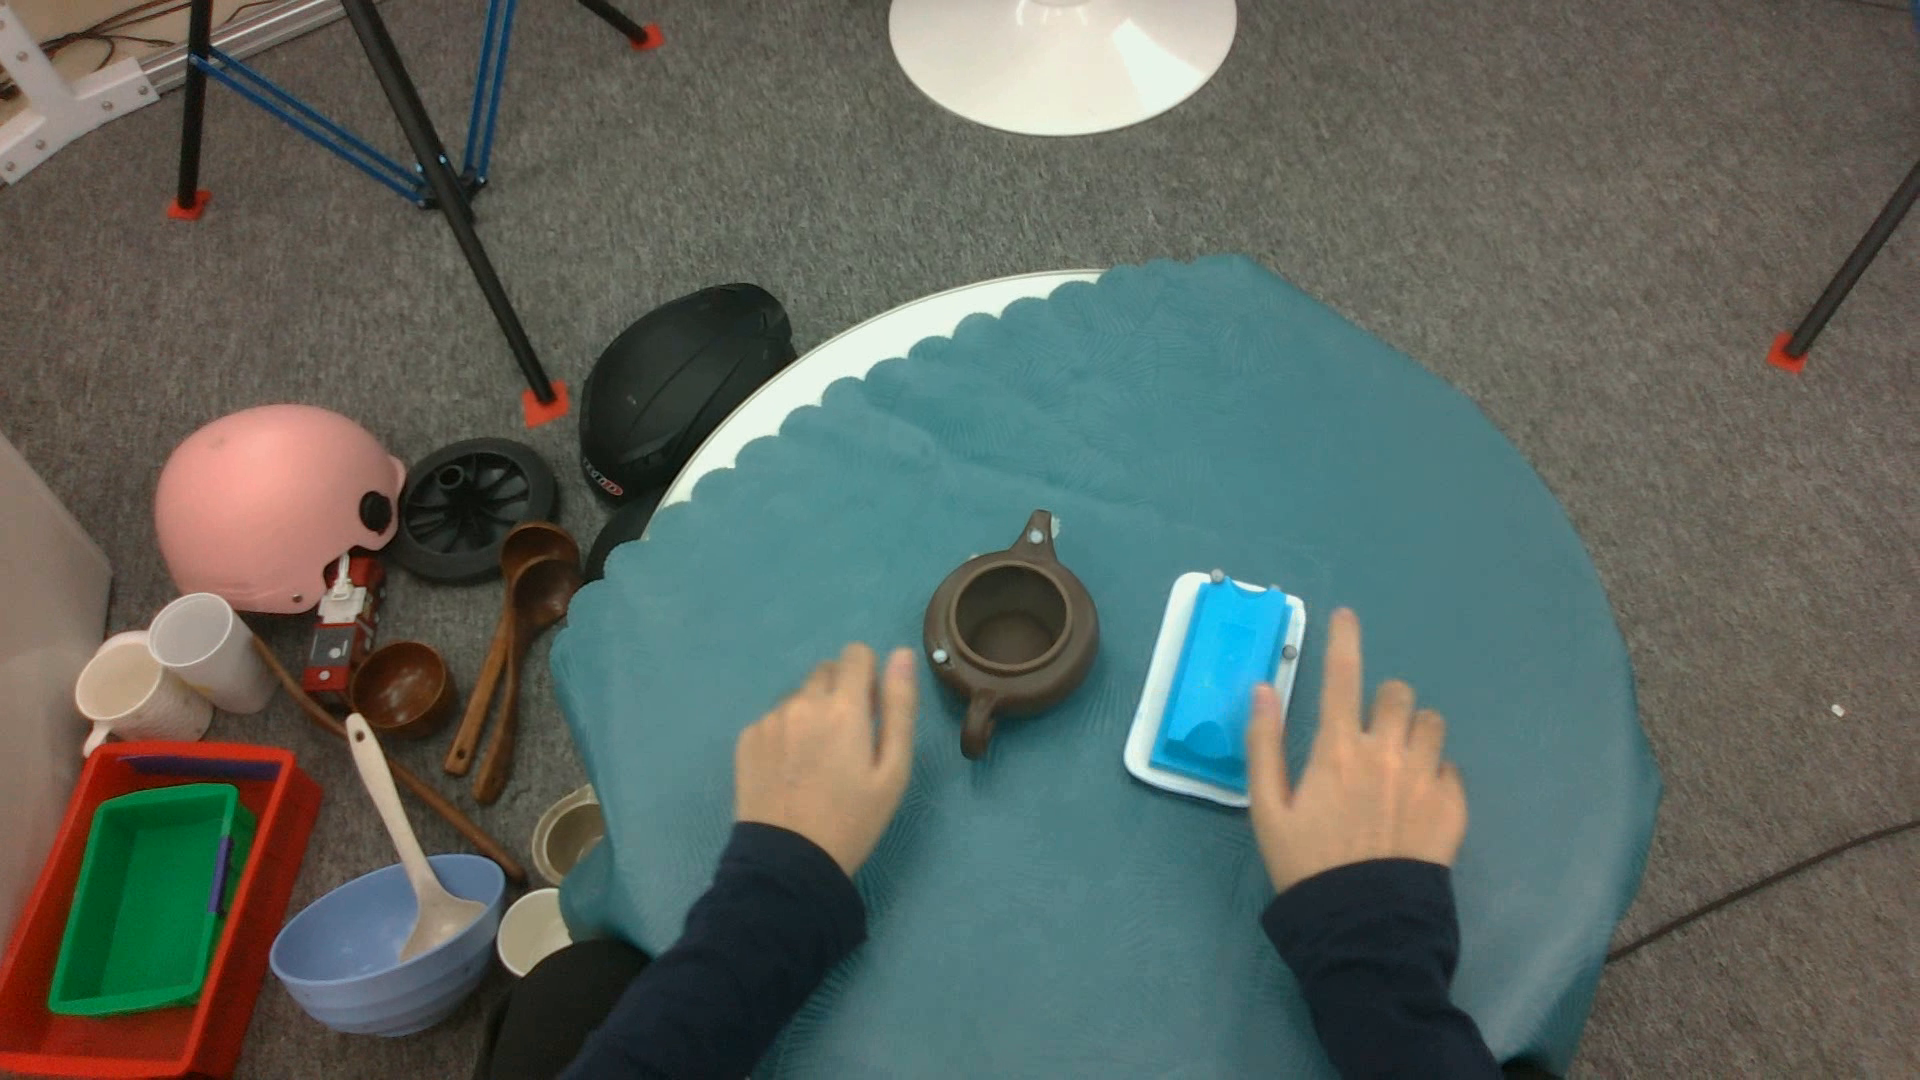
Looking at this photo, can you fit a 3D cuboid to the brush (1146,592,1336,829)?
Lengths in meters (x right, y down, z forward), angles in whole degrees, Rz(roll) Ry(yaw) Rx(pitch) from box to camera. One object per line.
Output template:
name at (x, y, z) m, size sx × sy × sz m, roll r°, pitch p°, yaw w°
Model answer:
brush at (0.161, 0.089, 0.786) m, size 0.084 × 0.056 × 0.144 m, roll 13°, pitch 58°, yaw 21°

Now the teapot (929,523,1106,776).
teapot at (0.033, 0.065, 0.799) m, size 0.102 × 0.053 × 0.154 m, roll 7°, pitch 58°, yaw 9°
